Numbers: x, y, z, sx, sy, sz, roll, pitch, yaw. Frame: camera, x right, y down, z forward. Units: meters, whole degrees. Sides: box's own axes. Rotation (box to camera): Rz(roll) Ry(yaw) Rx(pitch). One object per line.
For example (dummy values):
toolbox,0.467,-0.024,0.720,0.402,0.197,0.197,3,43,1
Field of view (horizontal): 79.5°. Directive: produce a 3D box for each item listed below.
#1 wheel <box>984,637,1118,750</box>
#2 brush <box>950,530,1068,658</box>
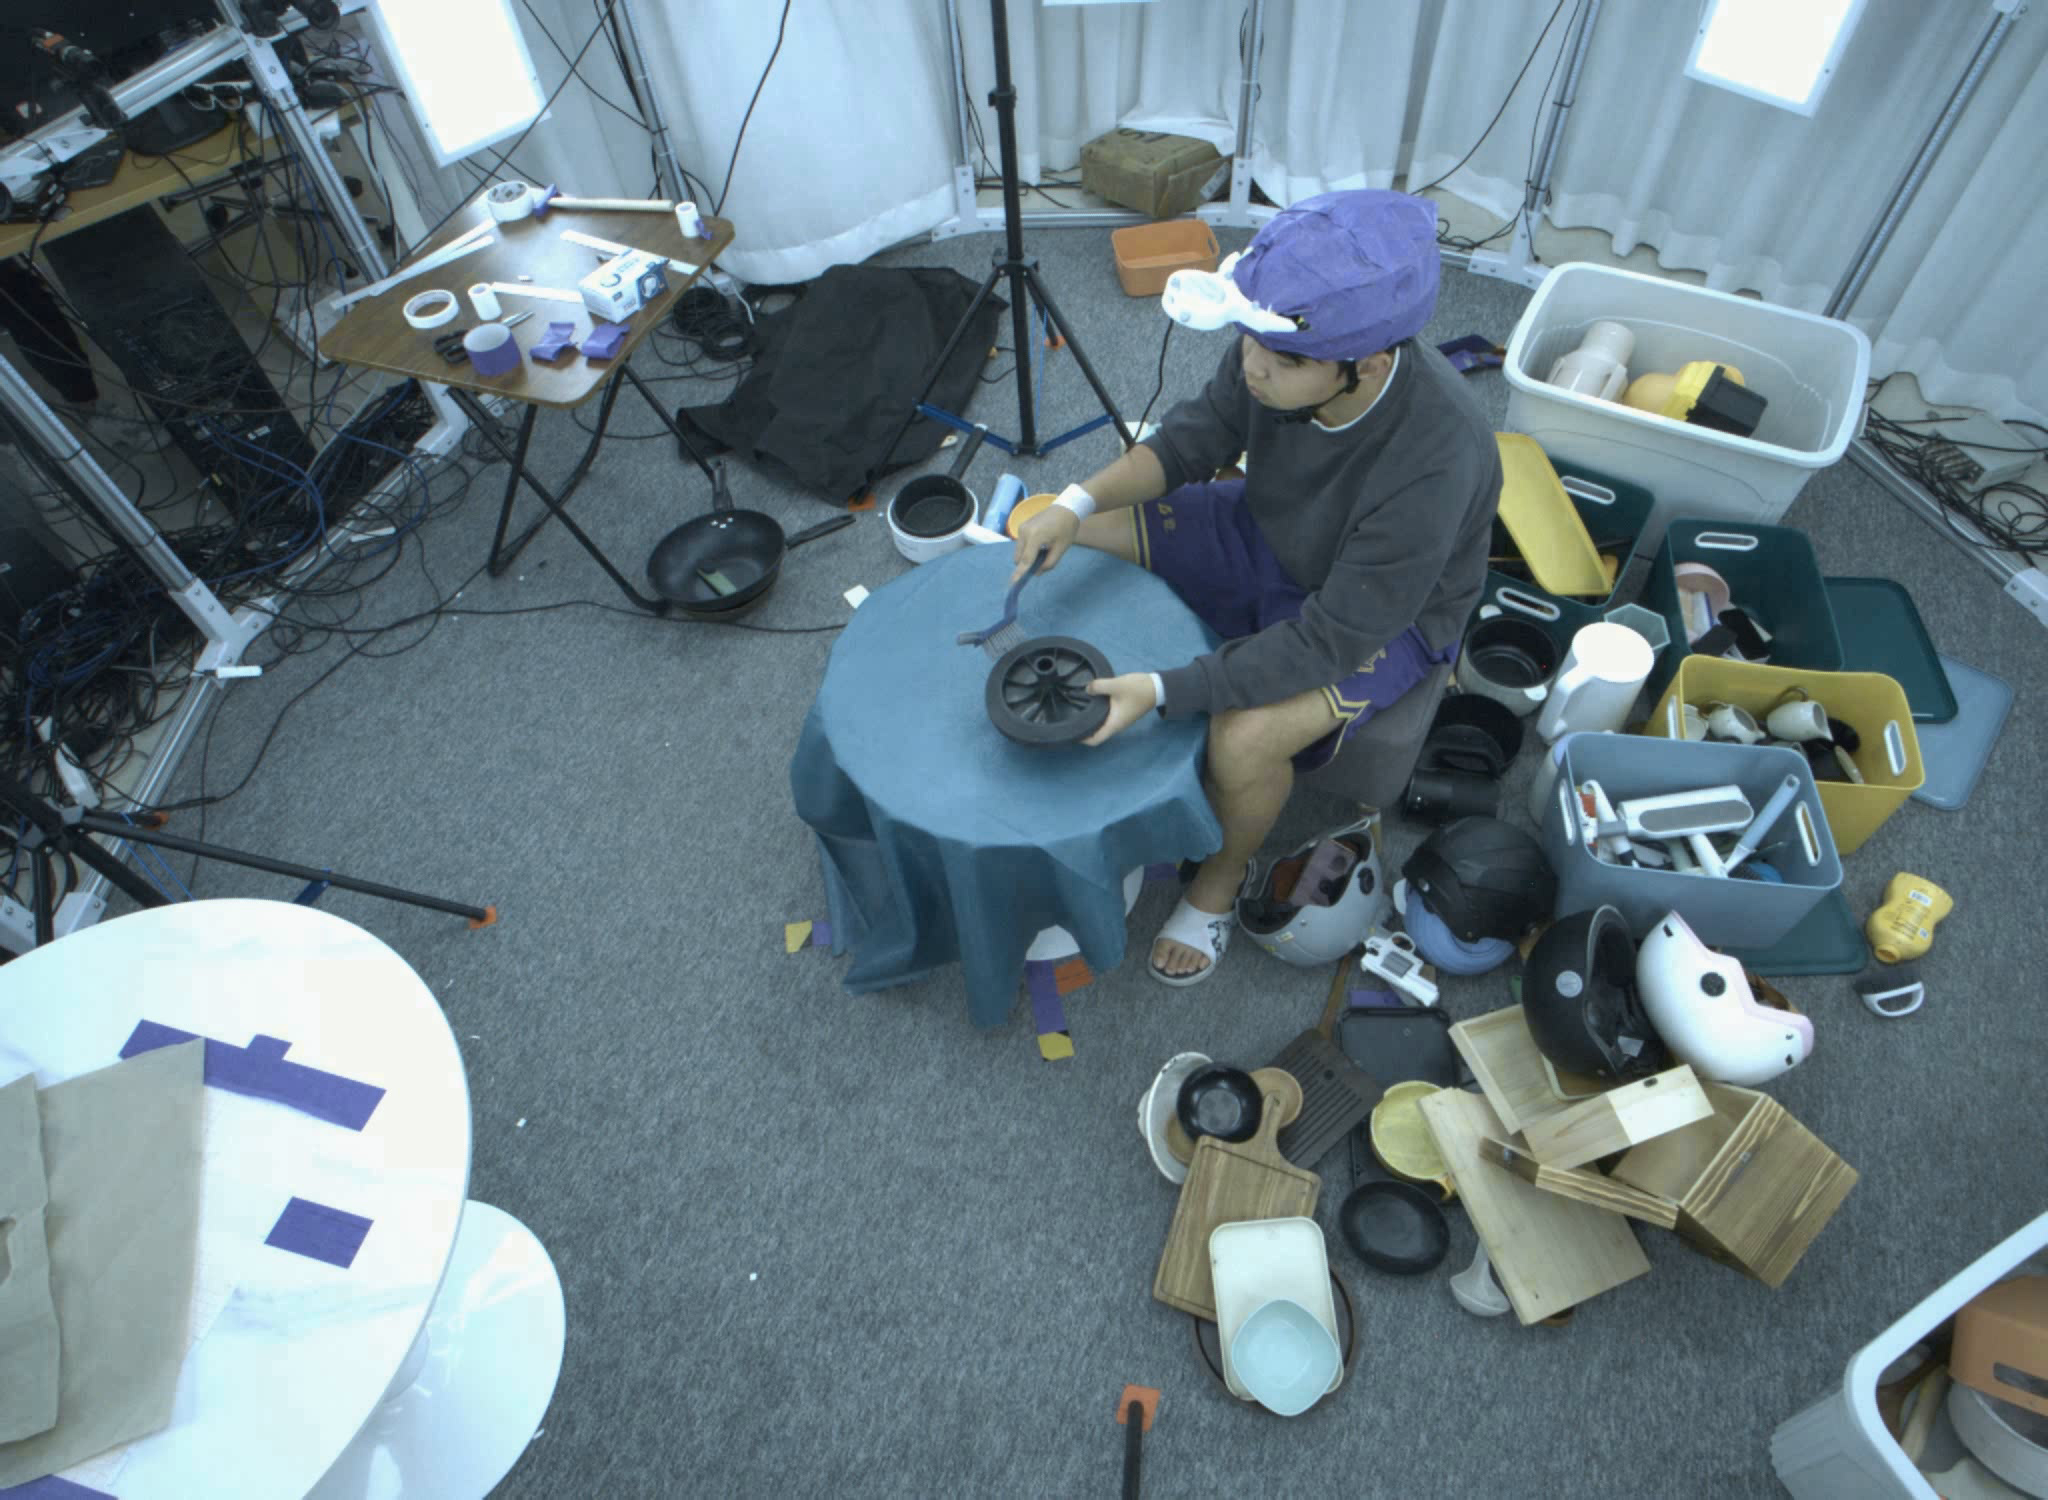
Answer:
wheel,0.036,-0.094,1.735,0.190,0.080,0.185,-7,57,2
brush,-0.015,-0.245,1.832,0.096,0.033,0.273,31,58,-9
